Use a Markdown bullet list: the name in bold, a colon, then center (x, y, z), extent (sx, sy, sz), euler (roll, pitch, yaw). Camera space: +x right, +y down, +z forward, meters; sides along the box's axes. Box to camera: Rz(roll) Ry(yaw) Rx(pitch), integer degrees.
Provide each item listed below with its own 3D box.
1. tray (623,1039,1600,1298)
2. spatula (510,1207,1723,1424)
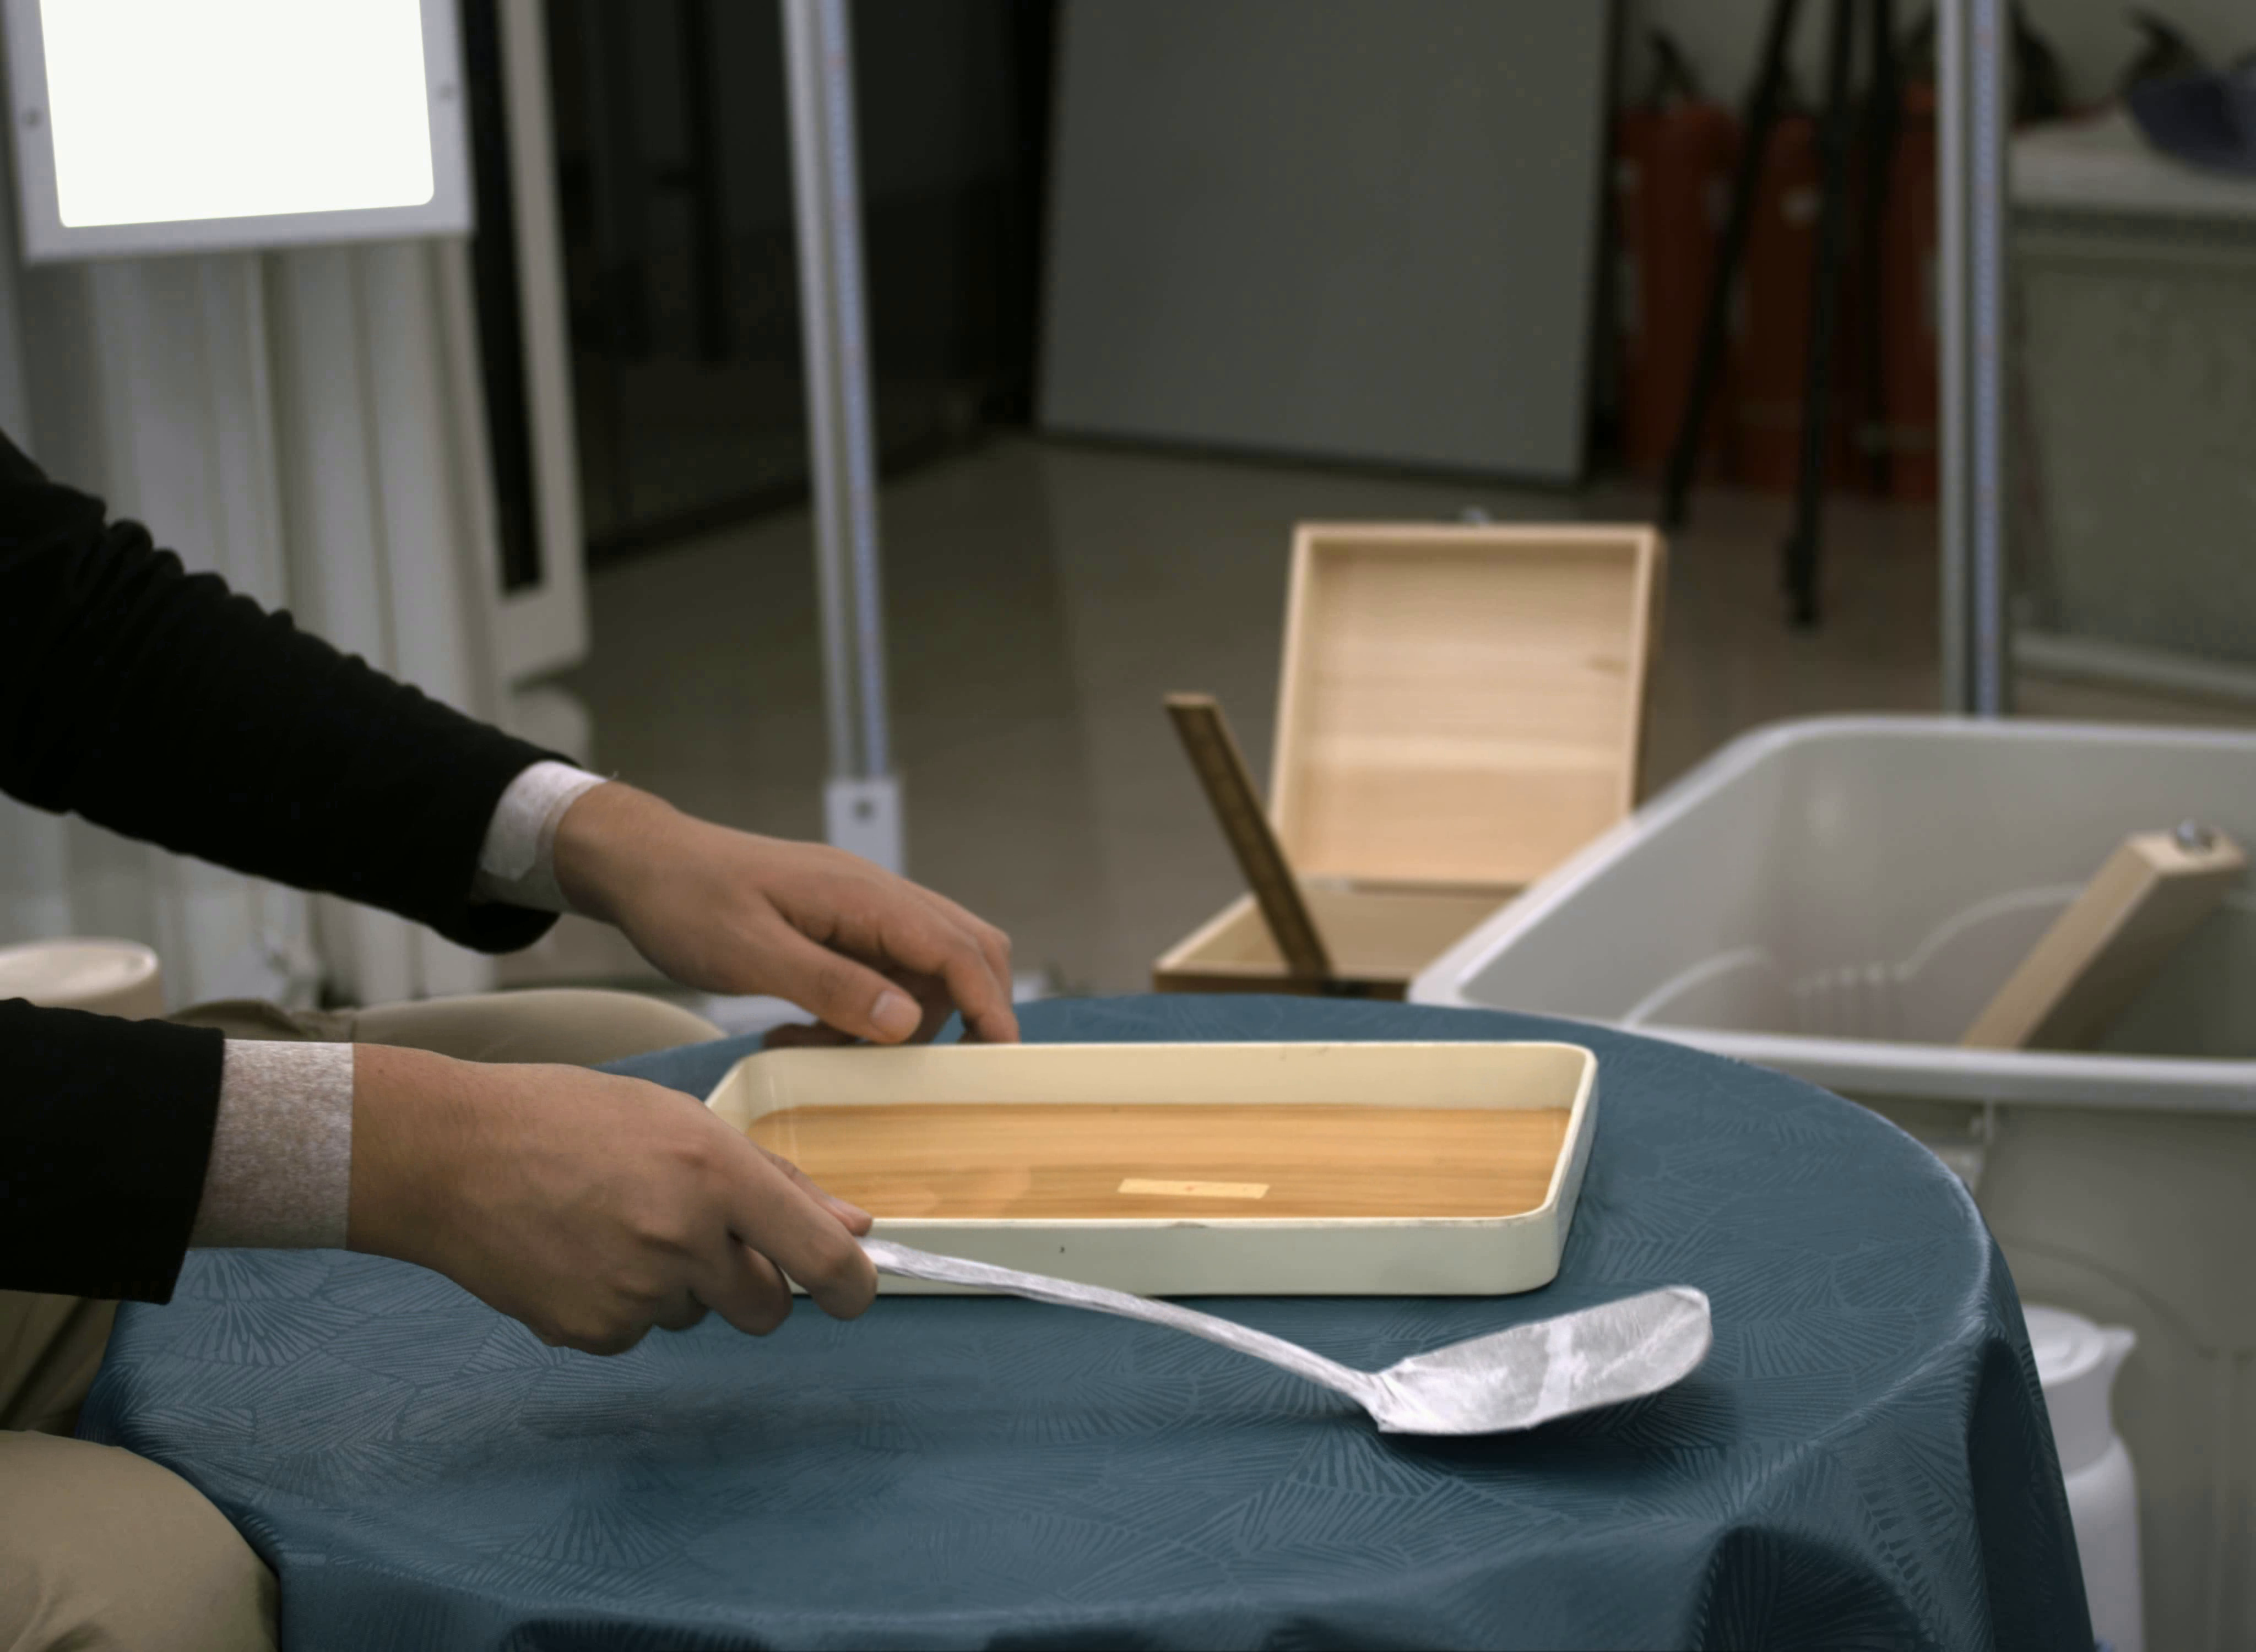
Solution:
- **tray**: center (0.000, 0.111, 1.755), extent (0.298, 0.028, 0.190), euler (-1, 14, 12)
- **spatula**: center (-0.010, 0.131, 1.565), extent (0.362, 0.045, 0.098), euler (9, 16, 11)
